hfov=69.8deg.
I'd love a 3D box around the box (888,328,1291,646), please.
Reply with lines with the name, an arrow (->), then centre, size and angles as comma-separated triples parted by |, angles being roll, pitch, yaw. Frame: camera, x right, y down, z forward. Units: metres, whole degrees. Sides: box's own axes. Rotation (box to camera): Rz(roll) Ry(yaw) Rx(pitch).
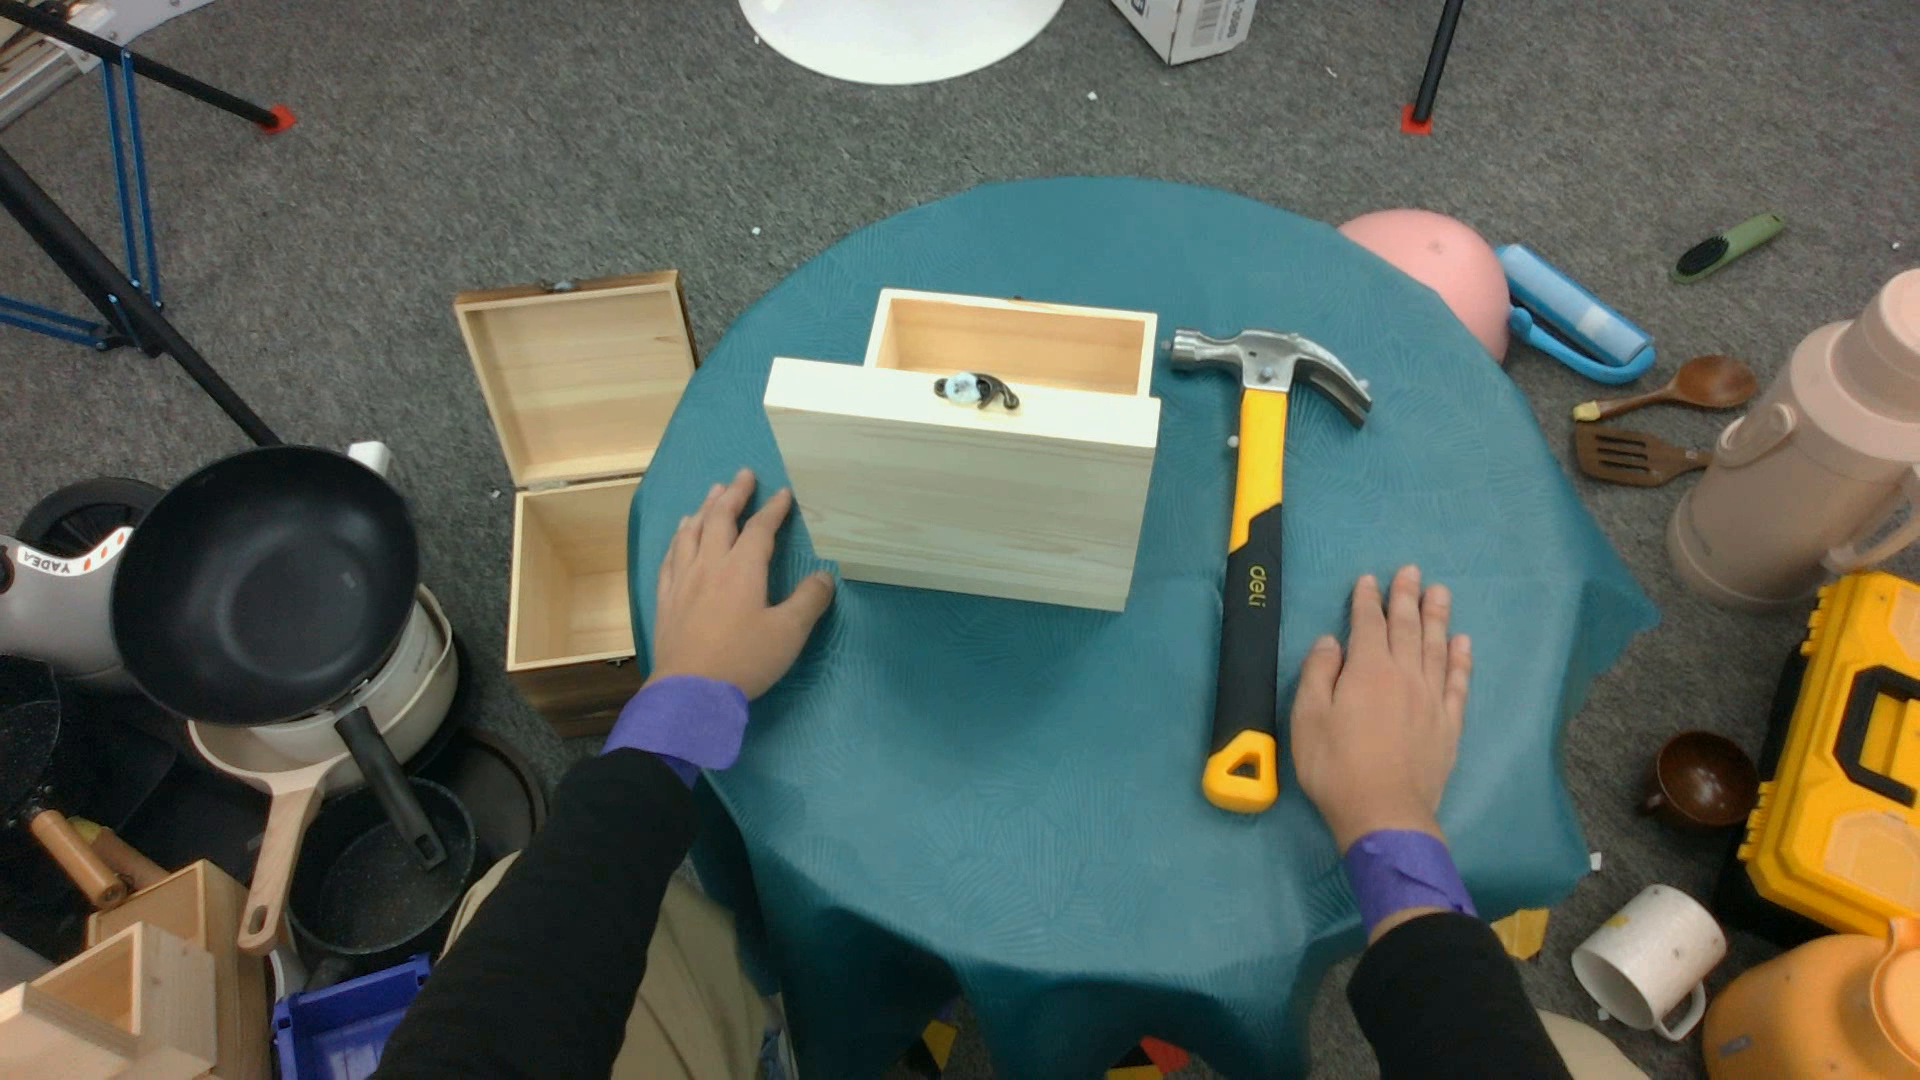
box -> 0.080, -0.050, 0.780 | 0.181, 0.252, 0.266 | -3, 57, 9

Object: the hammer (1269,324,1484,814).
hammer -> 0.262, 0.003, 0.831 | 0.131, 0.032, 0.340 | -3, 56, 12
